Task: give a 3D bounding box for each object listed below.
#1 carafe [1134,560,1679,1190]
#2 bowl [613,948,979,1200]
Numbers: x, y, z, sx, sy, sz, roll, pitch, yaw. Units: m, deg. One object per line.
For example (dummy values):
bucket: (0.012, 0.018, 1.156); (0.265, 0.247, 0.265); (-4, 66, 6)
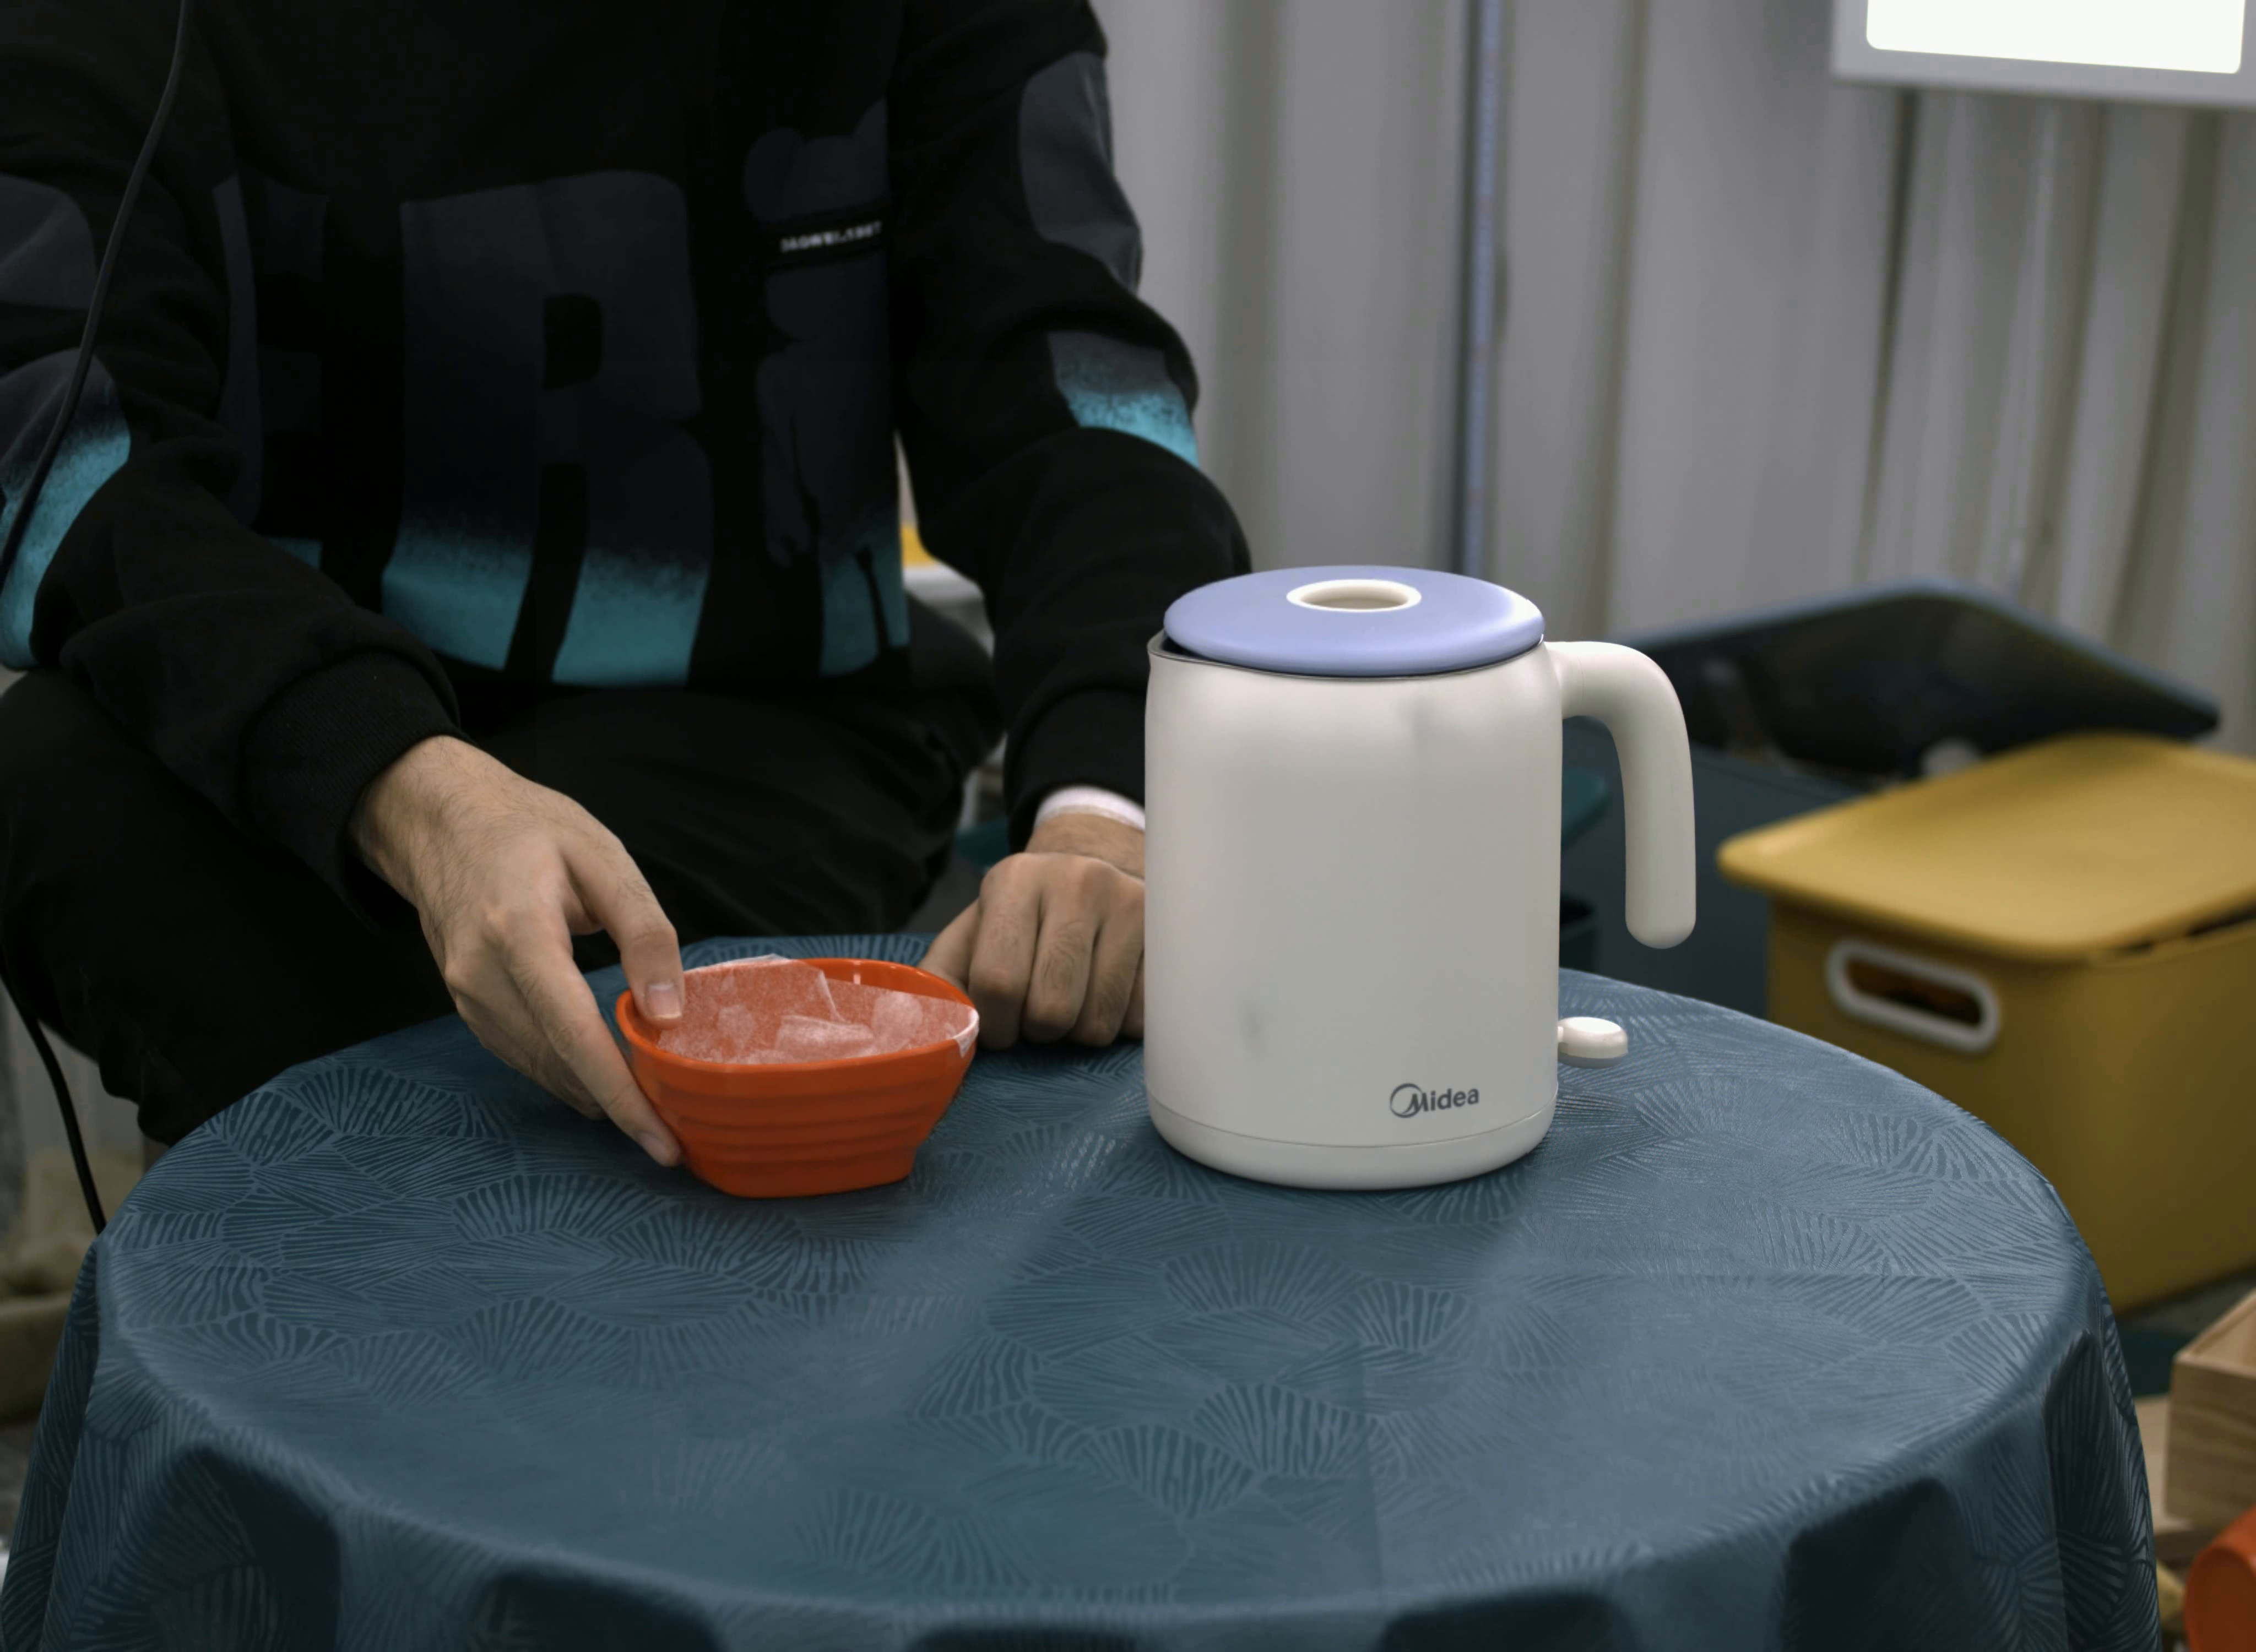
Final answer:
carafe: (0.091, 0.013, 1.662); (0.192, 0.184, 0.130); (-4, 18, -23)
bowl: (-0.103, 0.079, 1.635); (0.118, 0.052, 0.118); (0, 18, 1)
